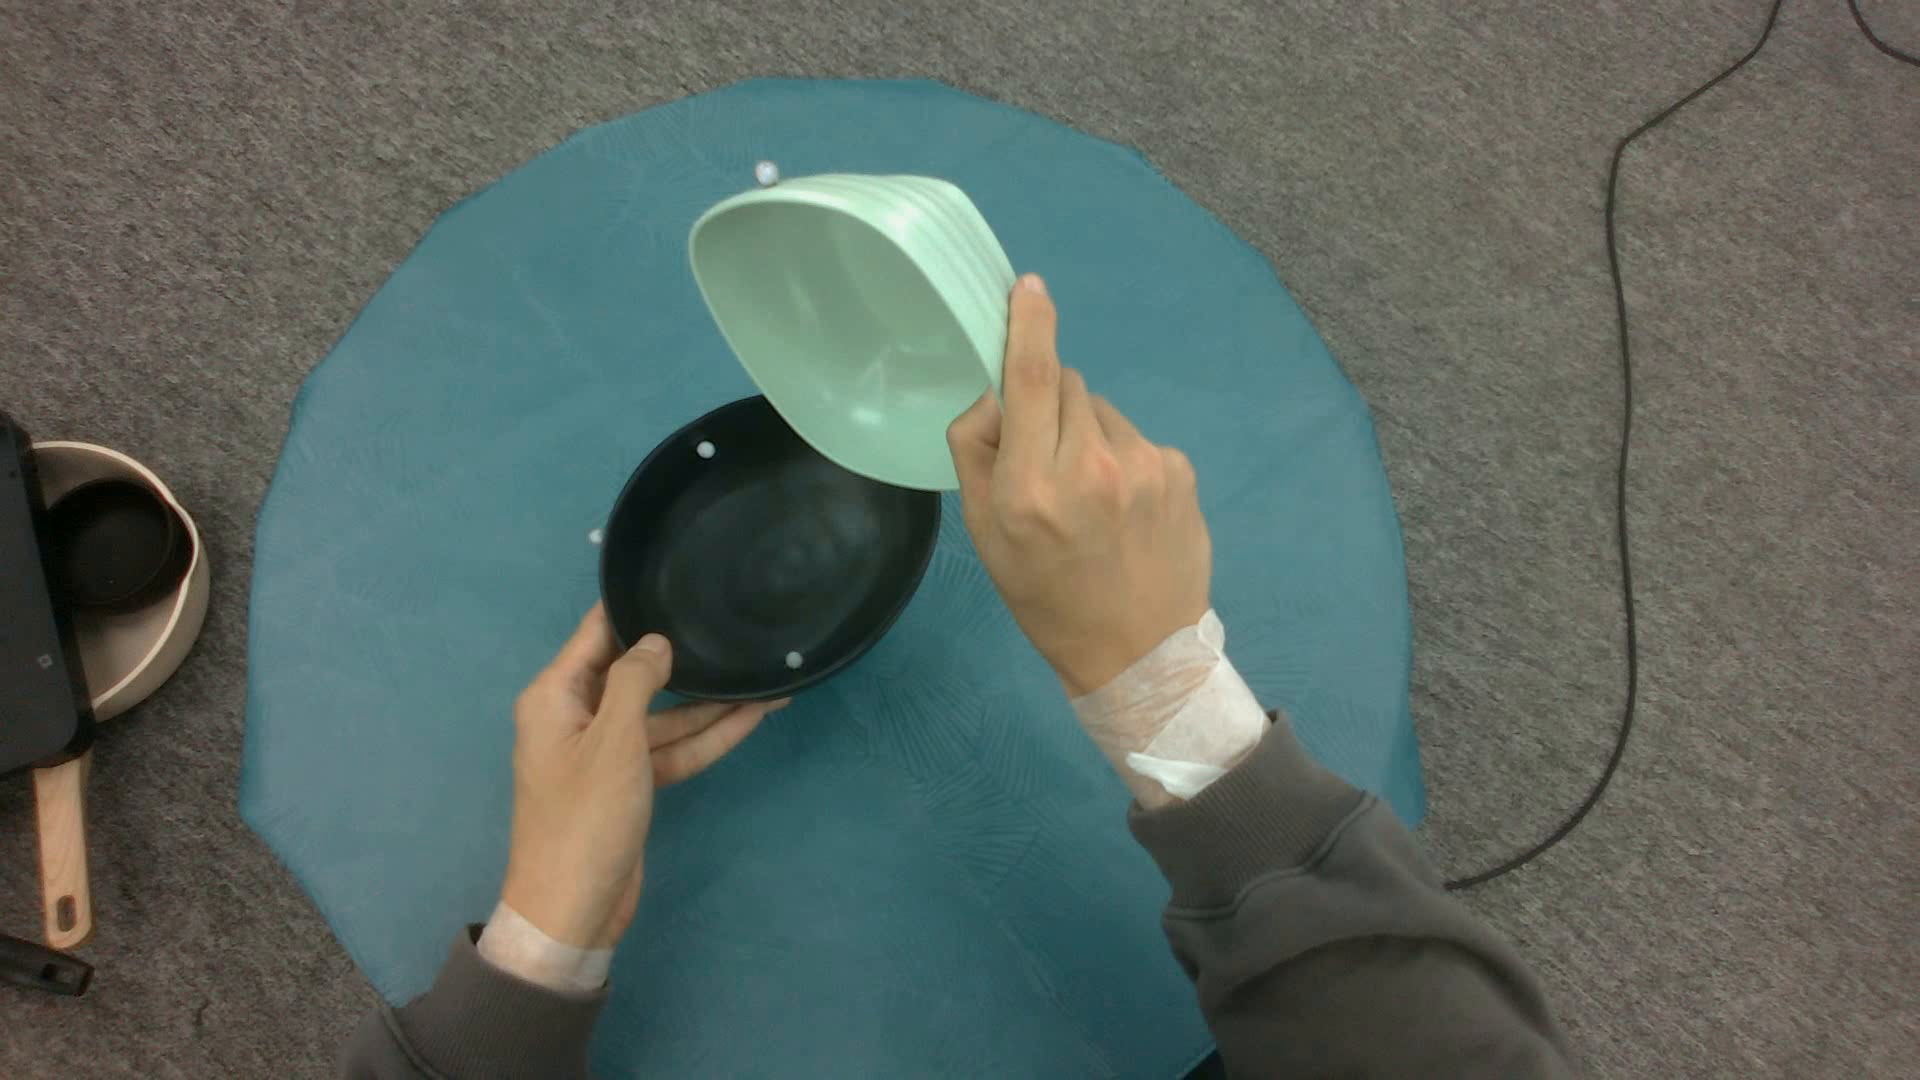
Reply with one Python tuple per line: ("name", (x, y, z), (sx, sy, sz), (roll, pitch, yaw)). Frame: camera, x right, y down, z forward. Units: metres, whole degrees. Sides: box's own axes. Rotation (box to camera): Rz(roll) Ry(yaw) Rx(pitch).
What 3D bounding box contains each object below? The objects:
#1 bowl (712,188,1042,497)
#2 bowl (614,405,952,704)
("bowl", (-0.022, -0.087, 0.546), (0.151, 0.151, 0.059), (36, 63, 8))
("bowl", (-0.083, 0.010, 0.666), (0.137, 0.066, 0.171), (44, 71, 12))
